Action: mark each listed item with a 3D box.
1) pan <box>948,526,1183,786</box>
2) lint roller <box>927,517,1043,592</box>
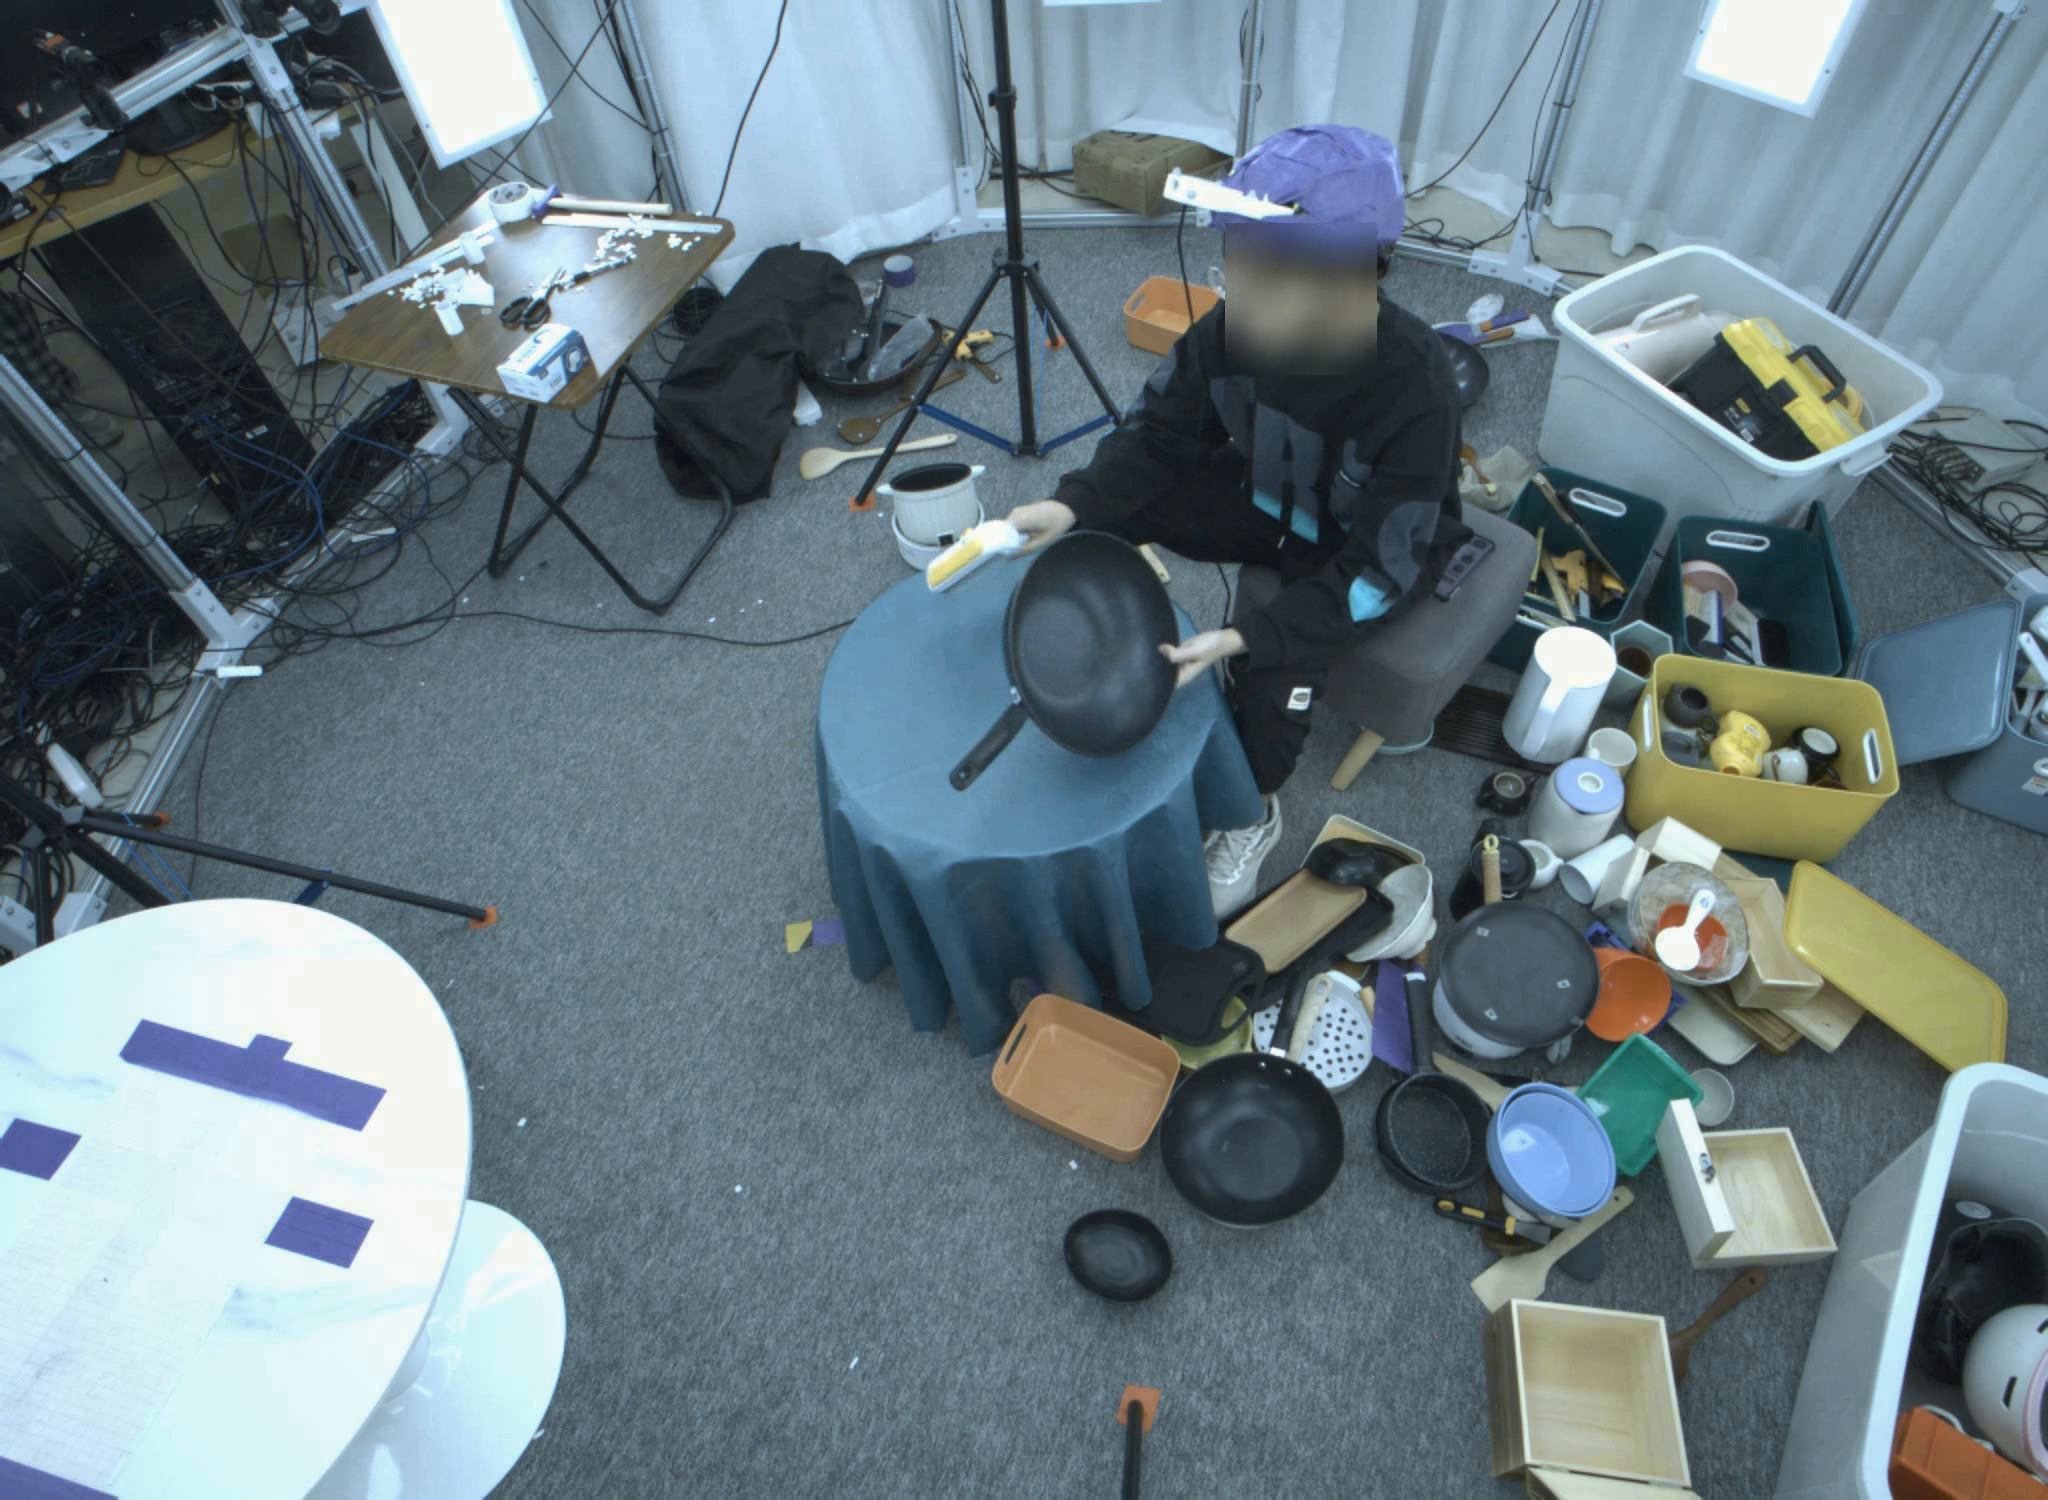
[{"bbox_3d":[0.033,-0.098,1.636,0.109,0.314,0.480,-3,33,51],"label":"pan"},{"bbox_3d":[-0.036,-0.305,1.839,0.195,0.190,0.074,-21,85,-44],"label":"lint roller"}]
